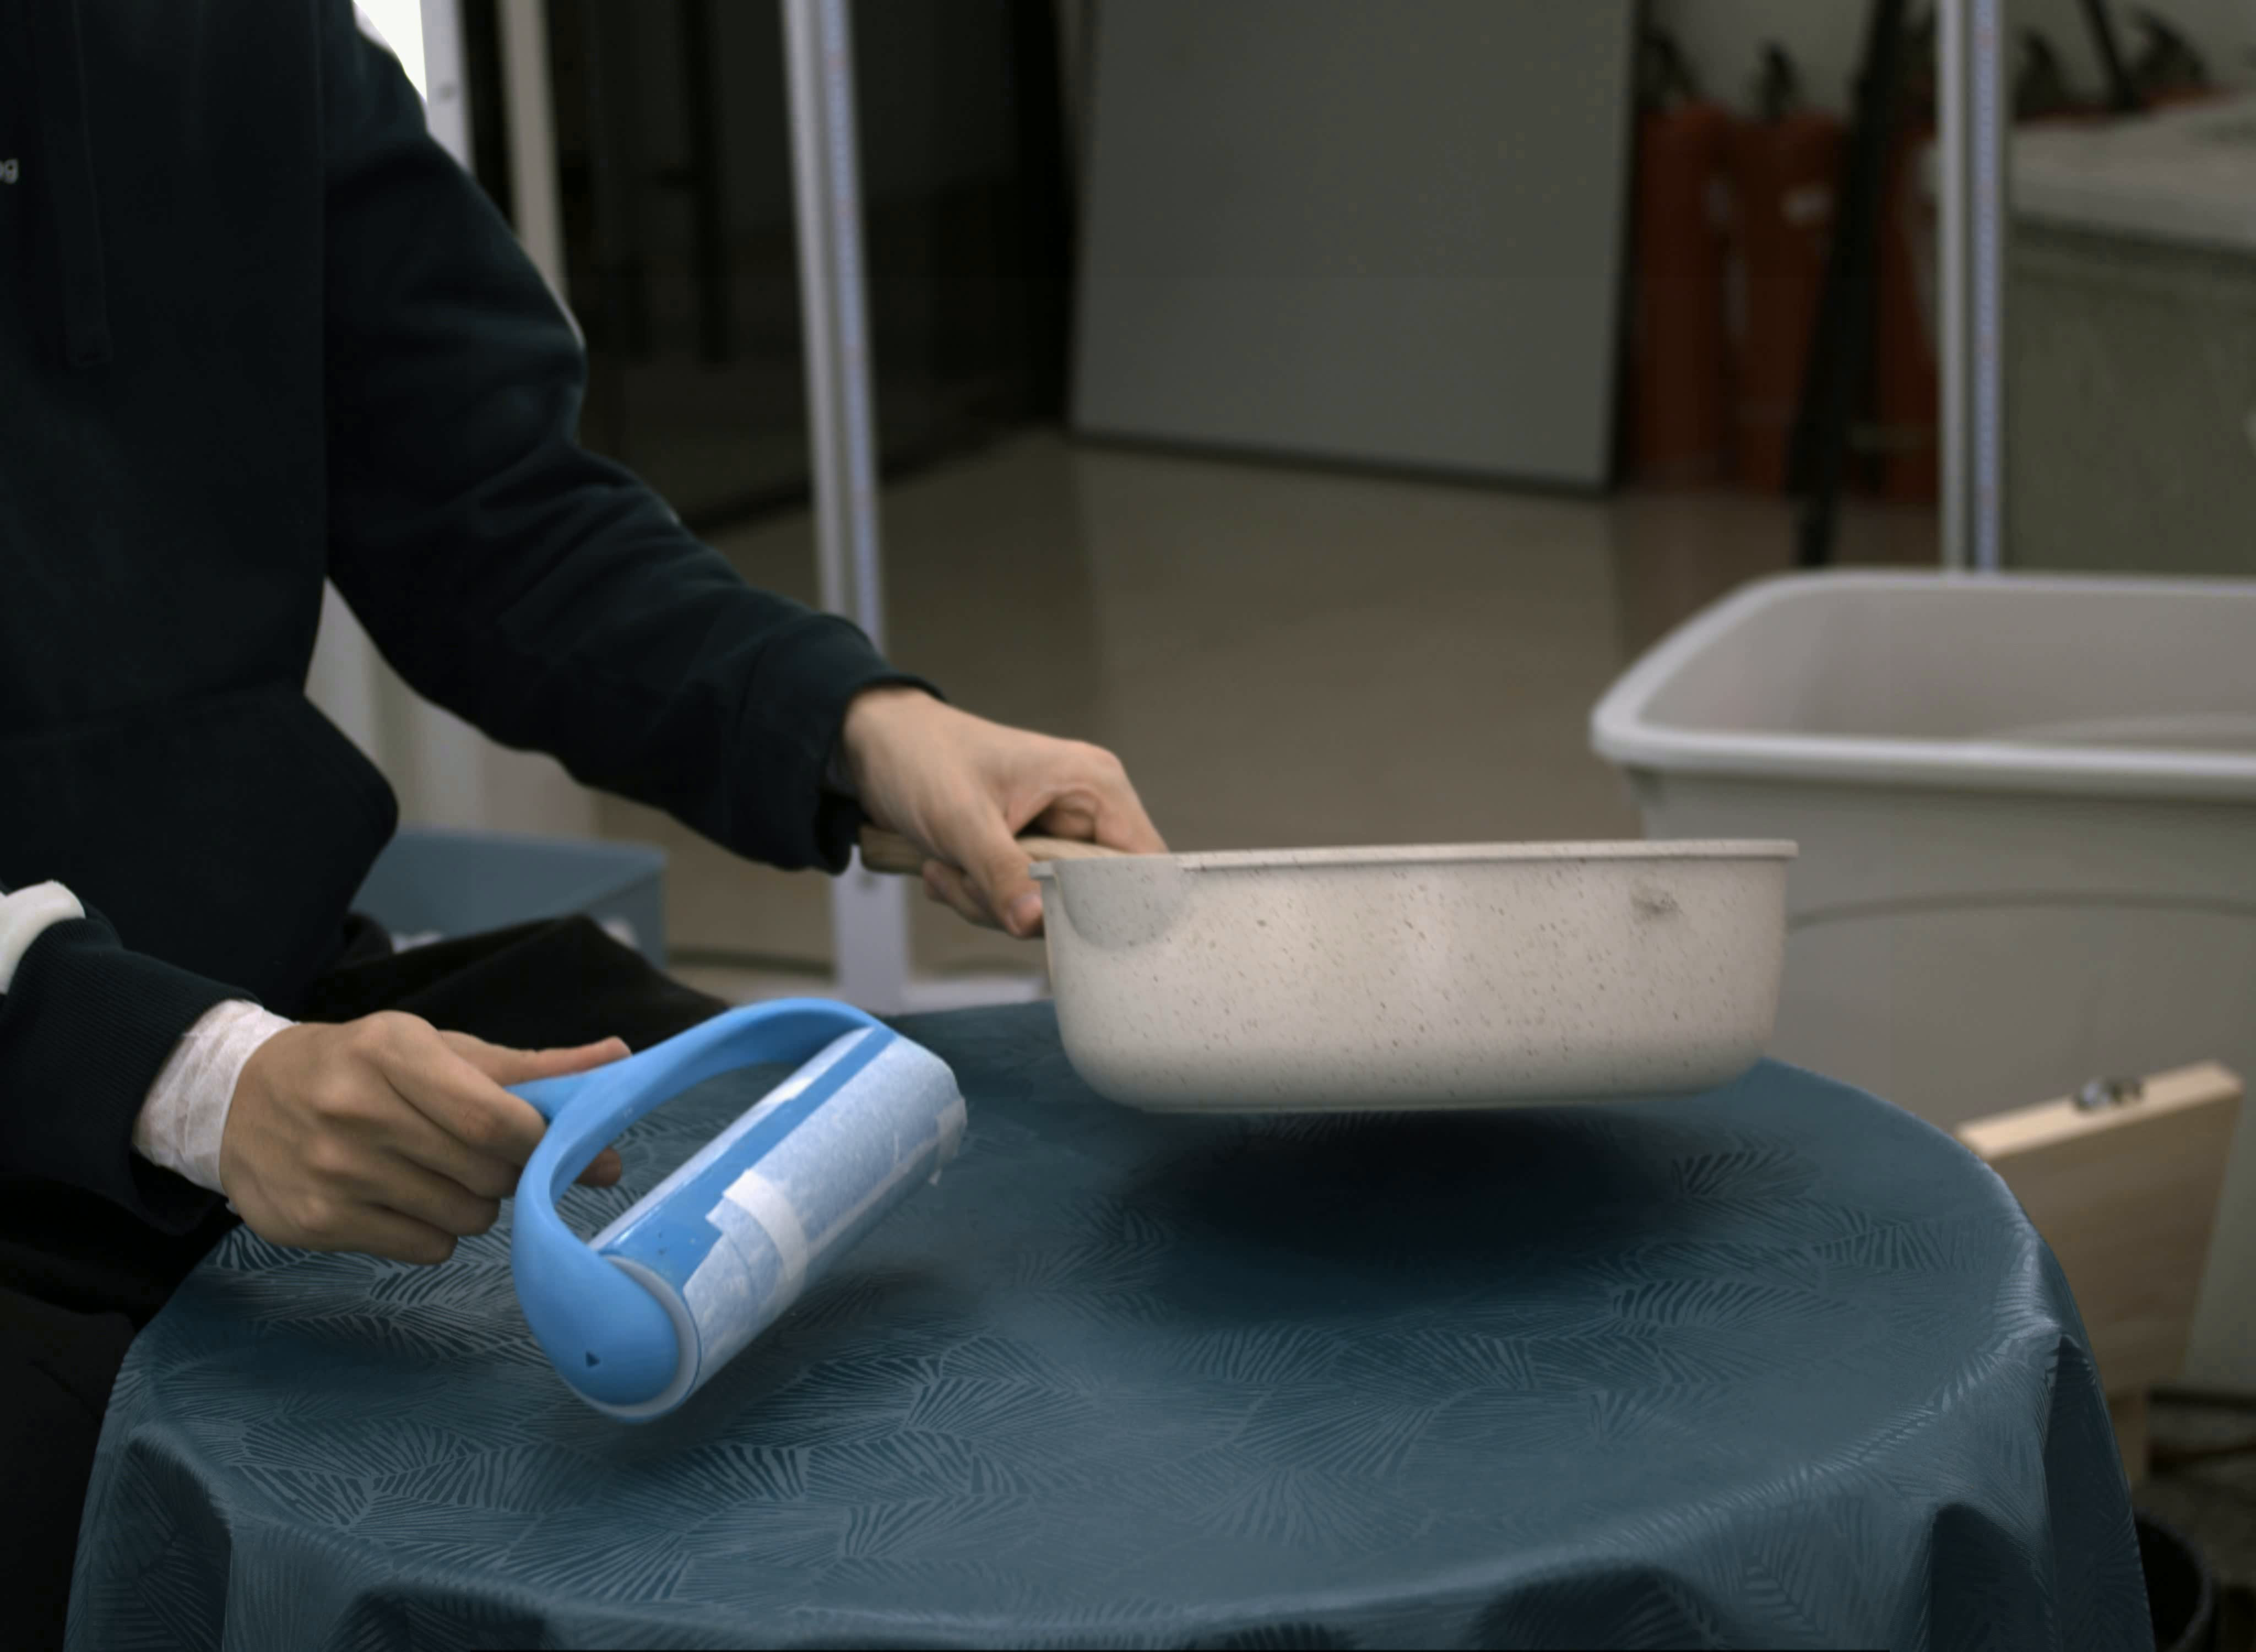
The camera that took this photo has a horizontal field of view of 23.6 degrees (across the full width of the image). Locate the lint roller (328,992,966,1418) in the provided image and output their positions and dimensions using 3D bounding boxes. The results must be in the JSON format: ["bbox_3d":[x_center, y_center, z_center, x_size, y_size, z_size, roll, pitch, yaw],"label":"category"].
[{"bbox_3d":[-0.164,0.107,1.646,0.180,0.068,0.227,7,21,18],"label":"lint roller"}]

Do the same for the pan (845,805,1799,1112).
[{"bbox_3d":[0.039,0.043,1.816,0.257,0.103,0.439,-1,-3,-37],"label":"pan"}]
